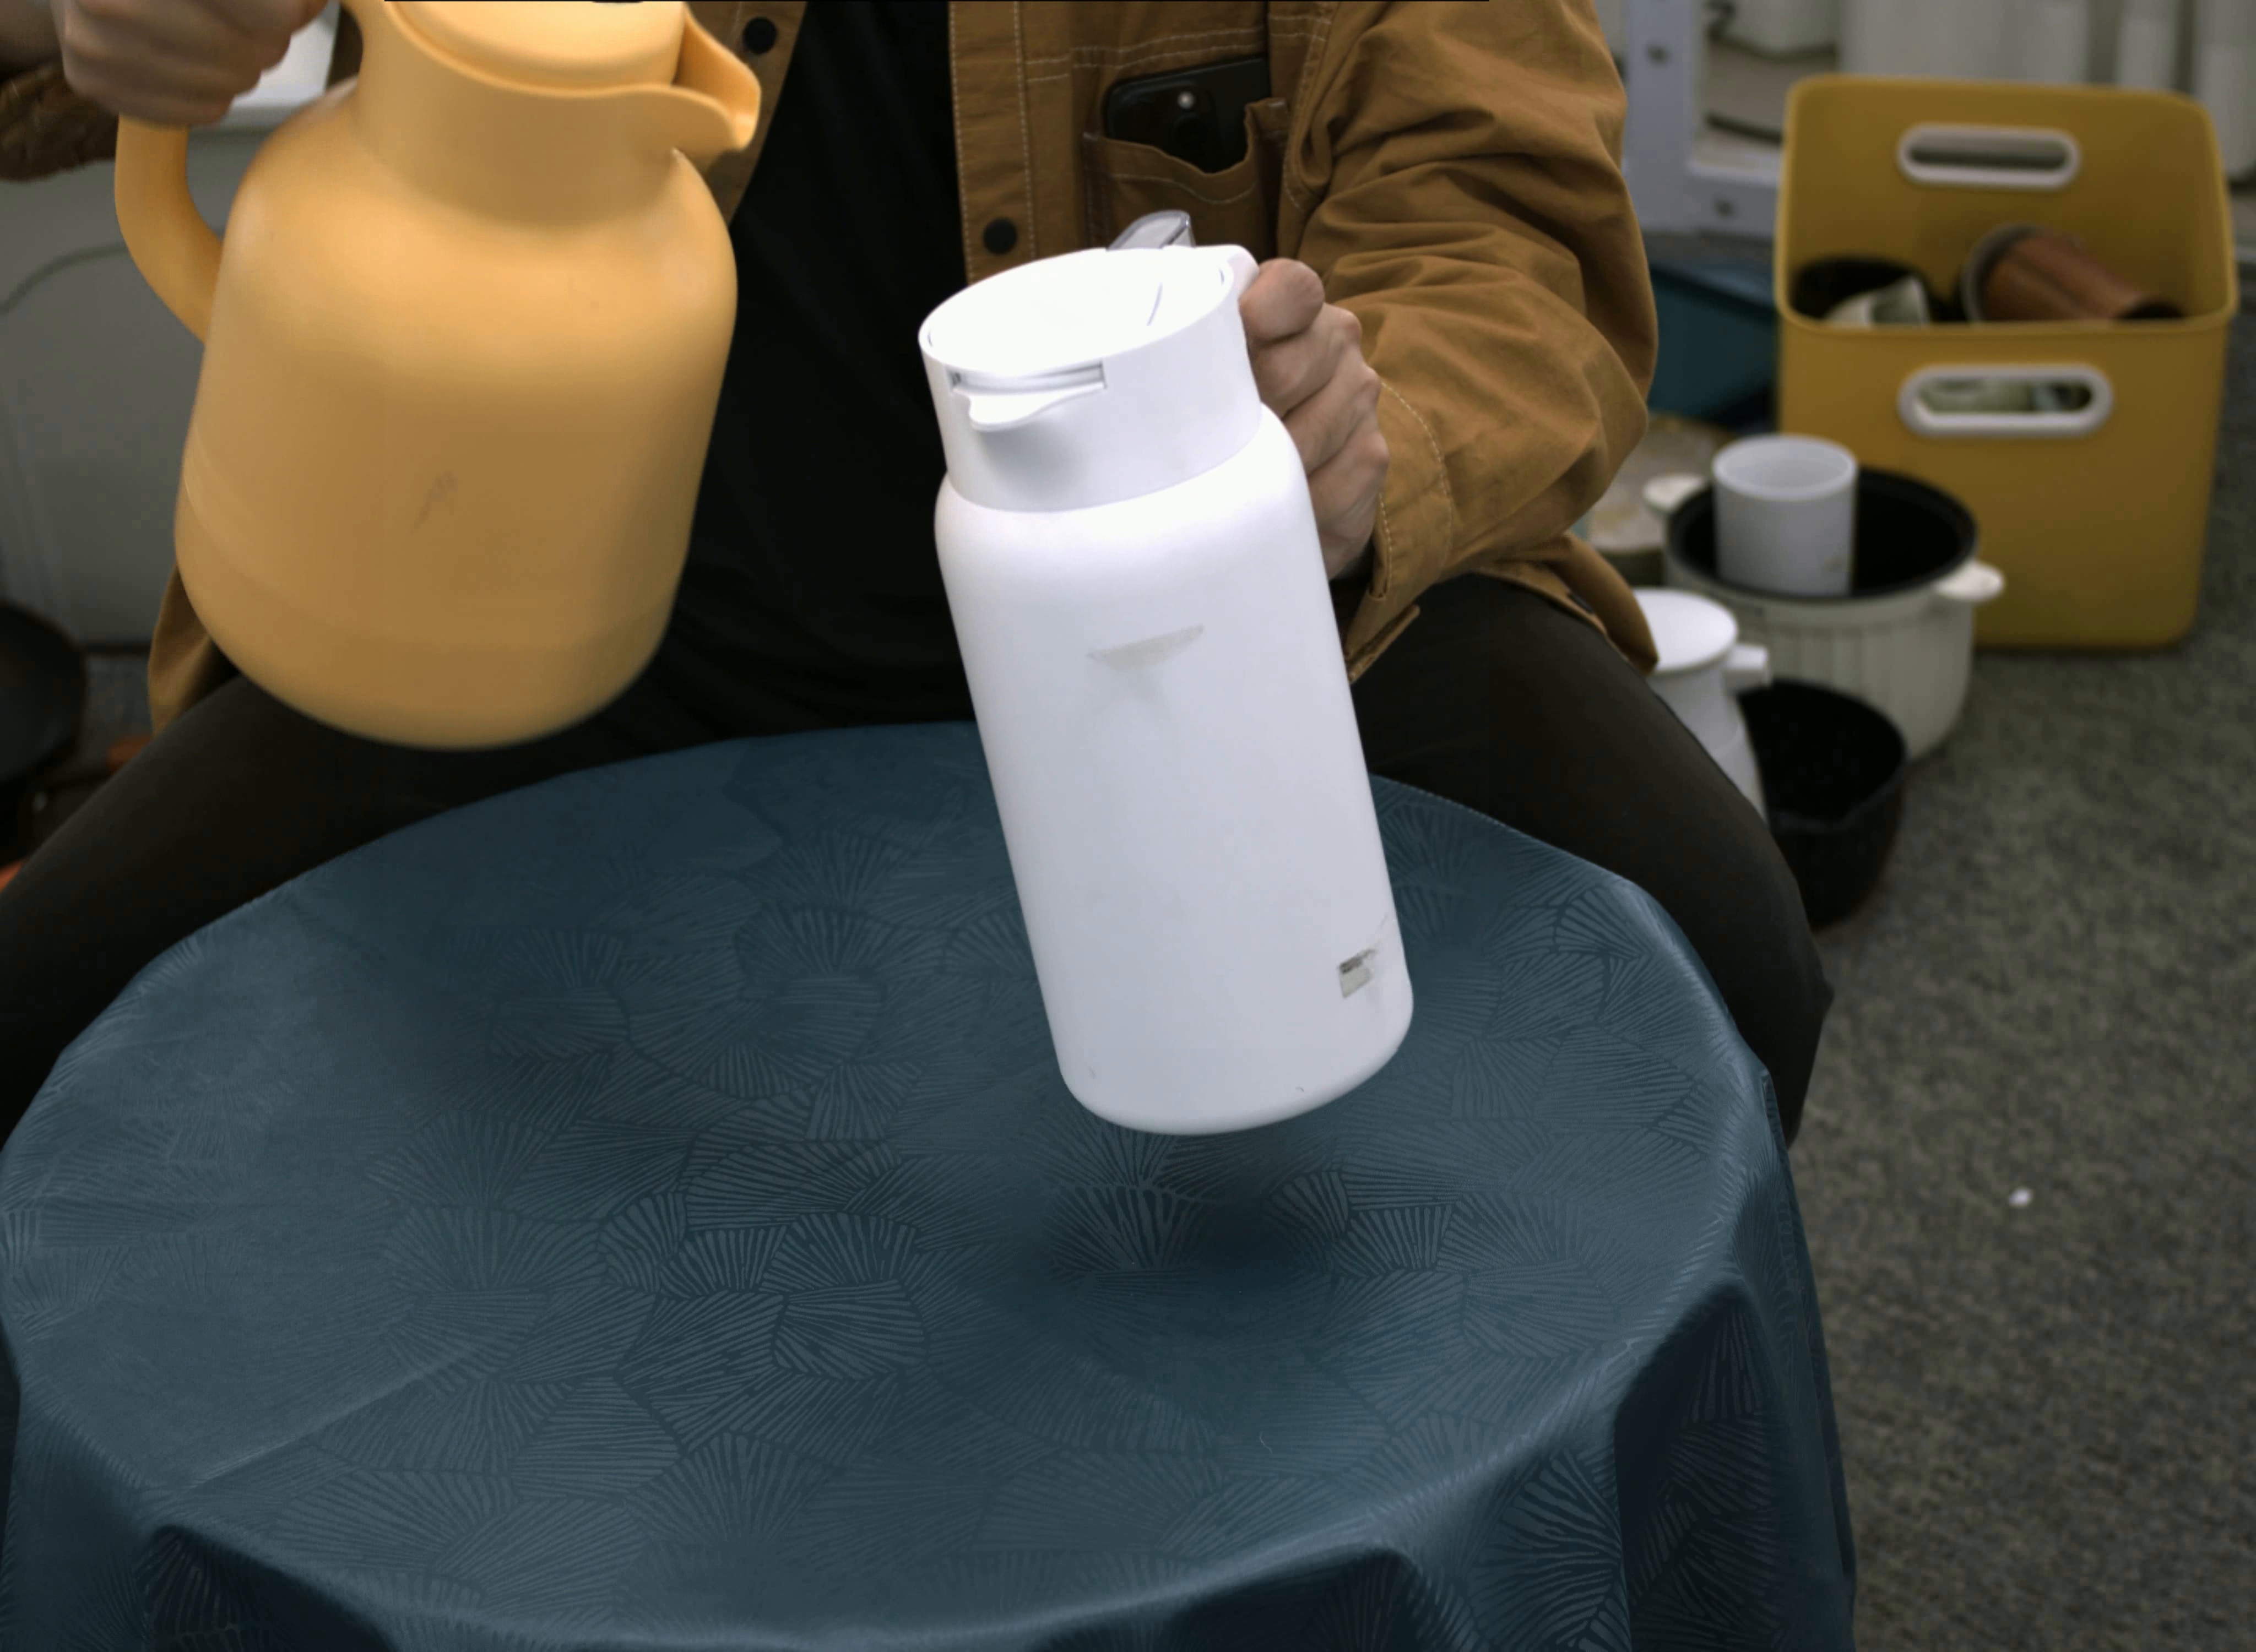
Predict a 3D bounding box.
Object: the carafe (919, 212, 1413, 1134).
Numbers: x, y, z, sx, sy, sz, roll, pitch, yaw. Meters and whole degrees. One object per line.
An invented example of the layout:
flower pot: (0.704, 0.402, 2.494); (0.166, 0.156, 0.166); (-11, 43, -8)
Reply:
carafe: (0.016, -0.052, 1.781); (0.122, 0.267, 0.176); (-3, 25, 26)

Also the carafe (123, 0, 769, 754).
carafe: (-0.221, -0.169, 1.768); (0.202, 0.256, 0.166); (24, 33, 8)
